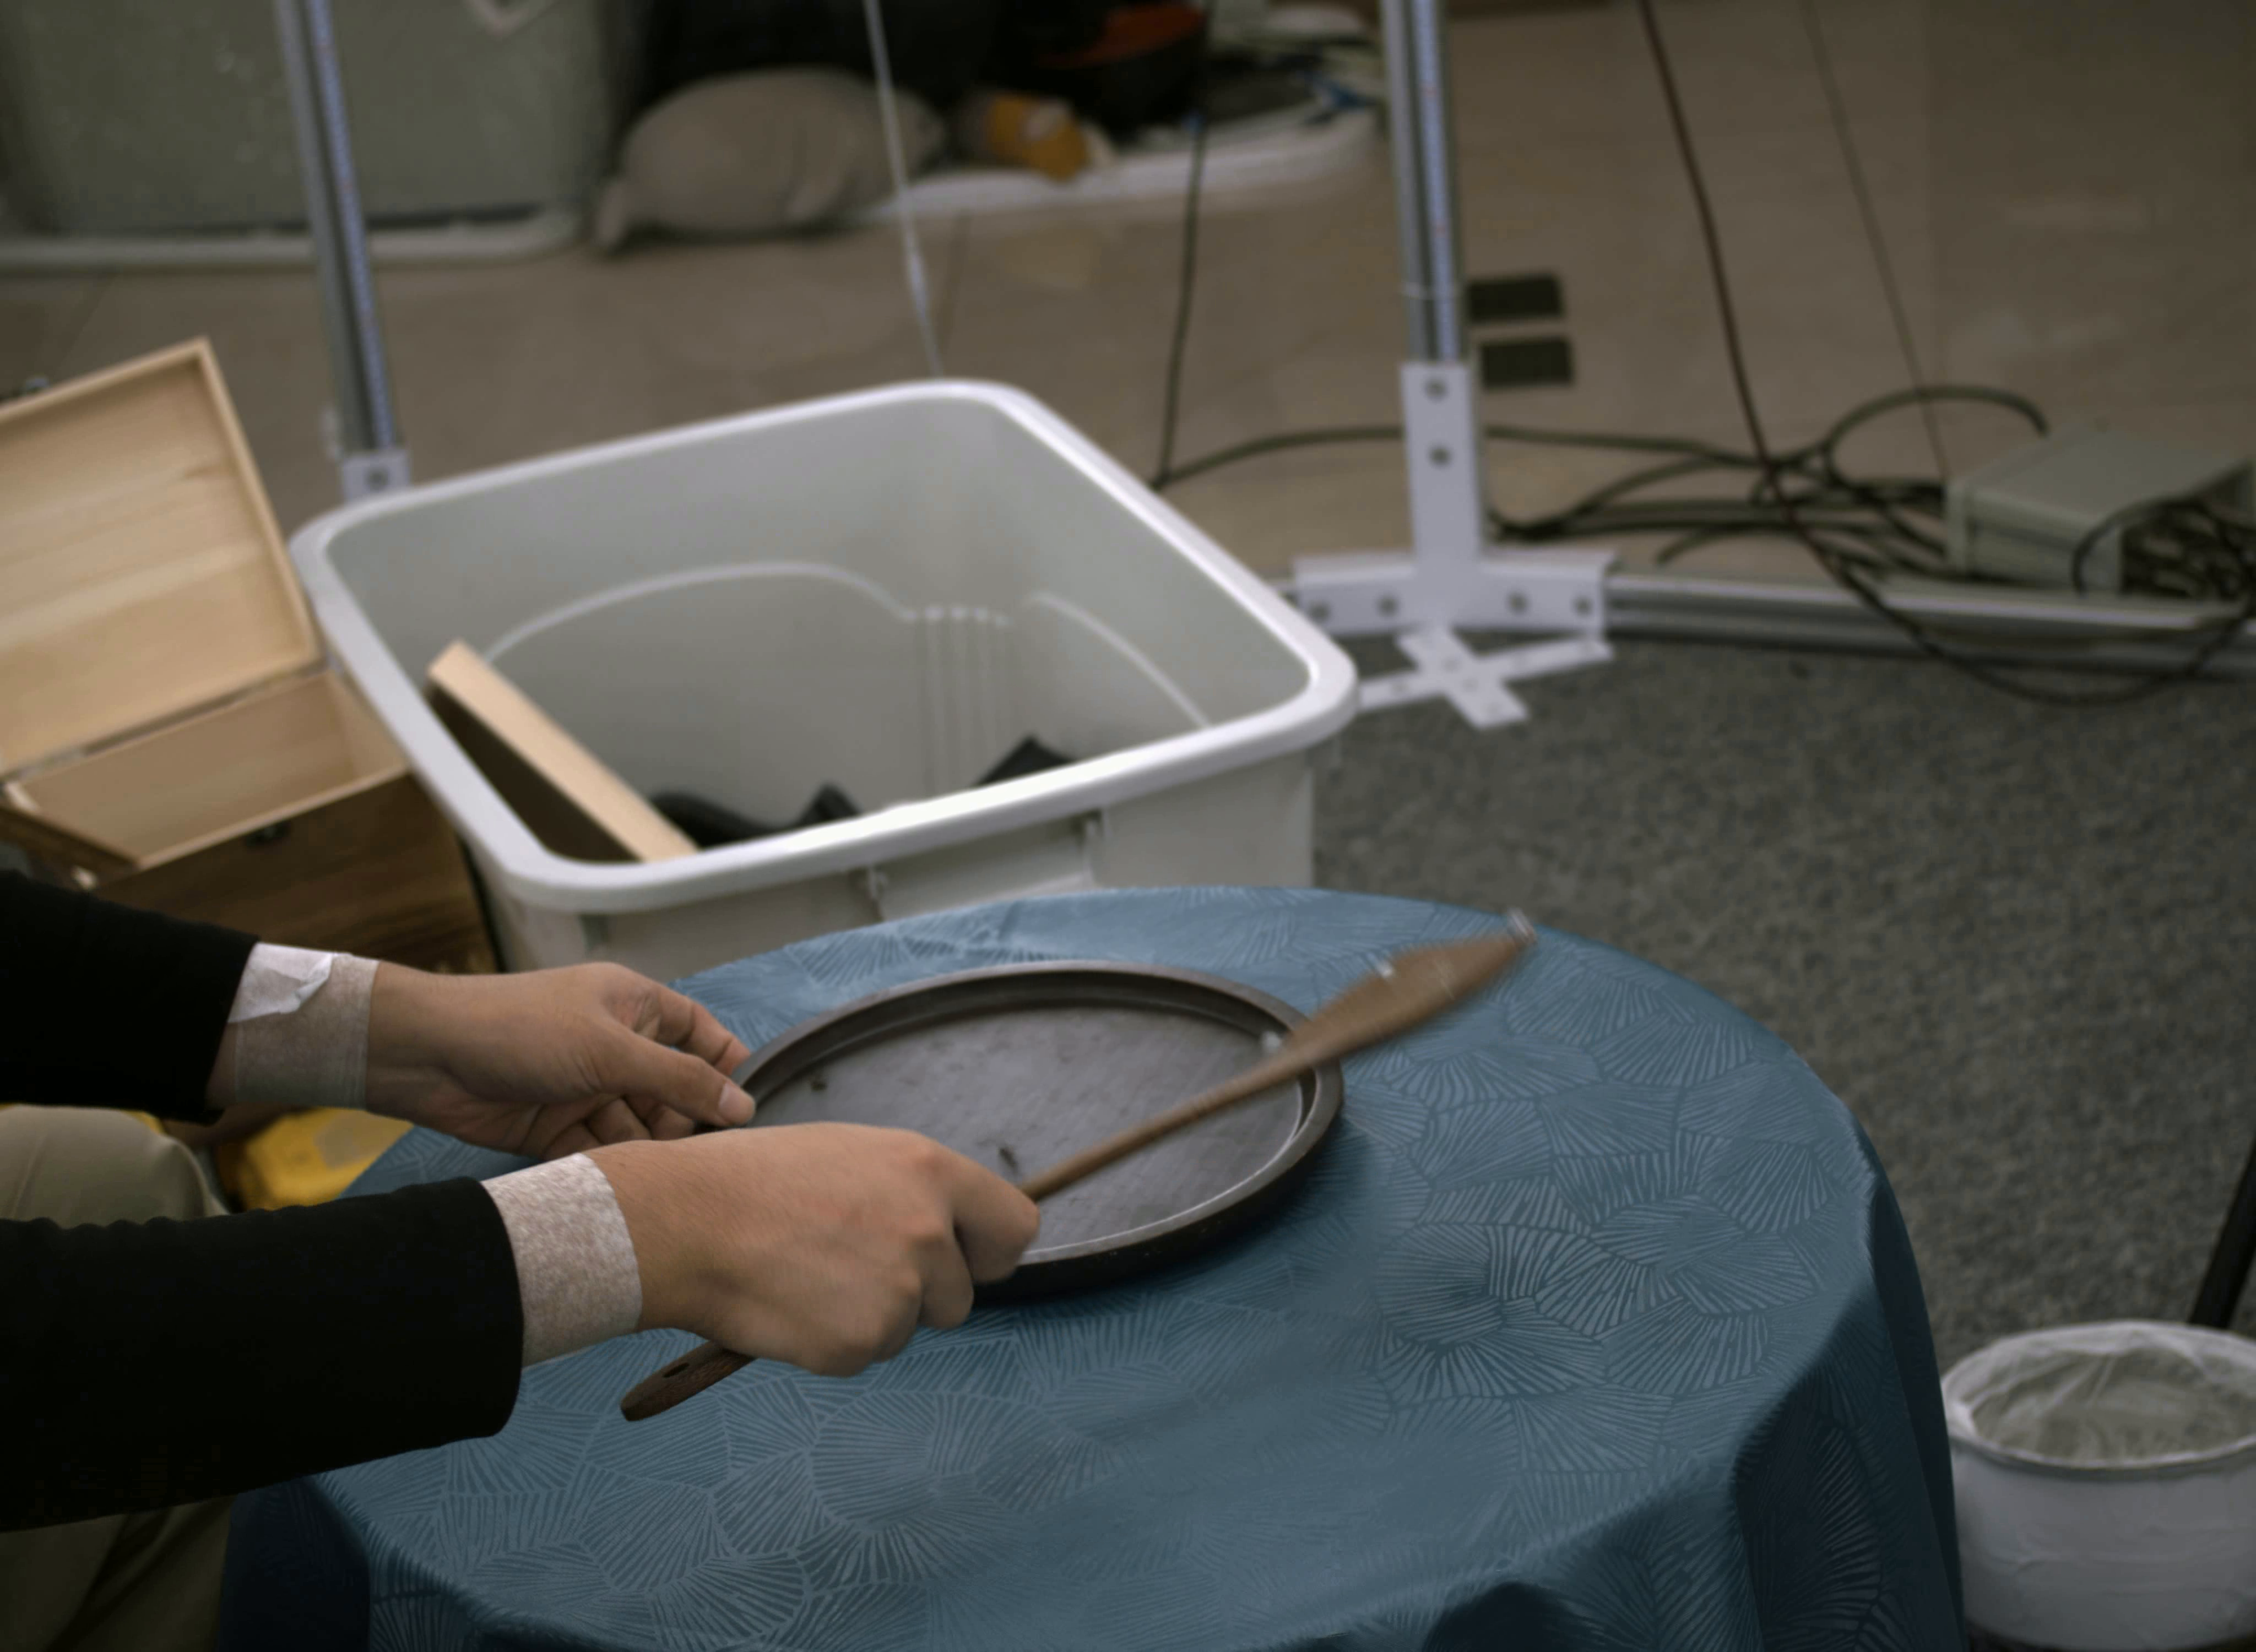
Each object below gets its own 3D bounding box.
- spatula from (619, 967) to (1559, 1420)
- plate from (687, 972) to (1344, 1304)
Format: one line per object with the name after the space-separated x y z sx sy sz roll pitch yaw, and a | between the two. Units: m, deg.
-0.013 0.122 1.955 0.383 0.016 0.096 -23 10 -29 | spatula
-0.043 0.118 2.179 0.254 0.029 0.251 -4 26 2 | plate
